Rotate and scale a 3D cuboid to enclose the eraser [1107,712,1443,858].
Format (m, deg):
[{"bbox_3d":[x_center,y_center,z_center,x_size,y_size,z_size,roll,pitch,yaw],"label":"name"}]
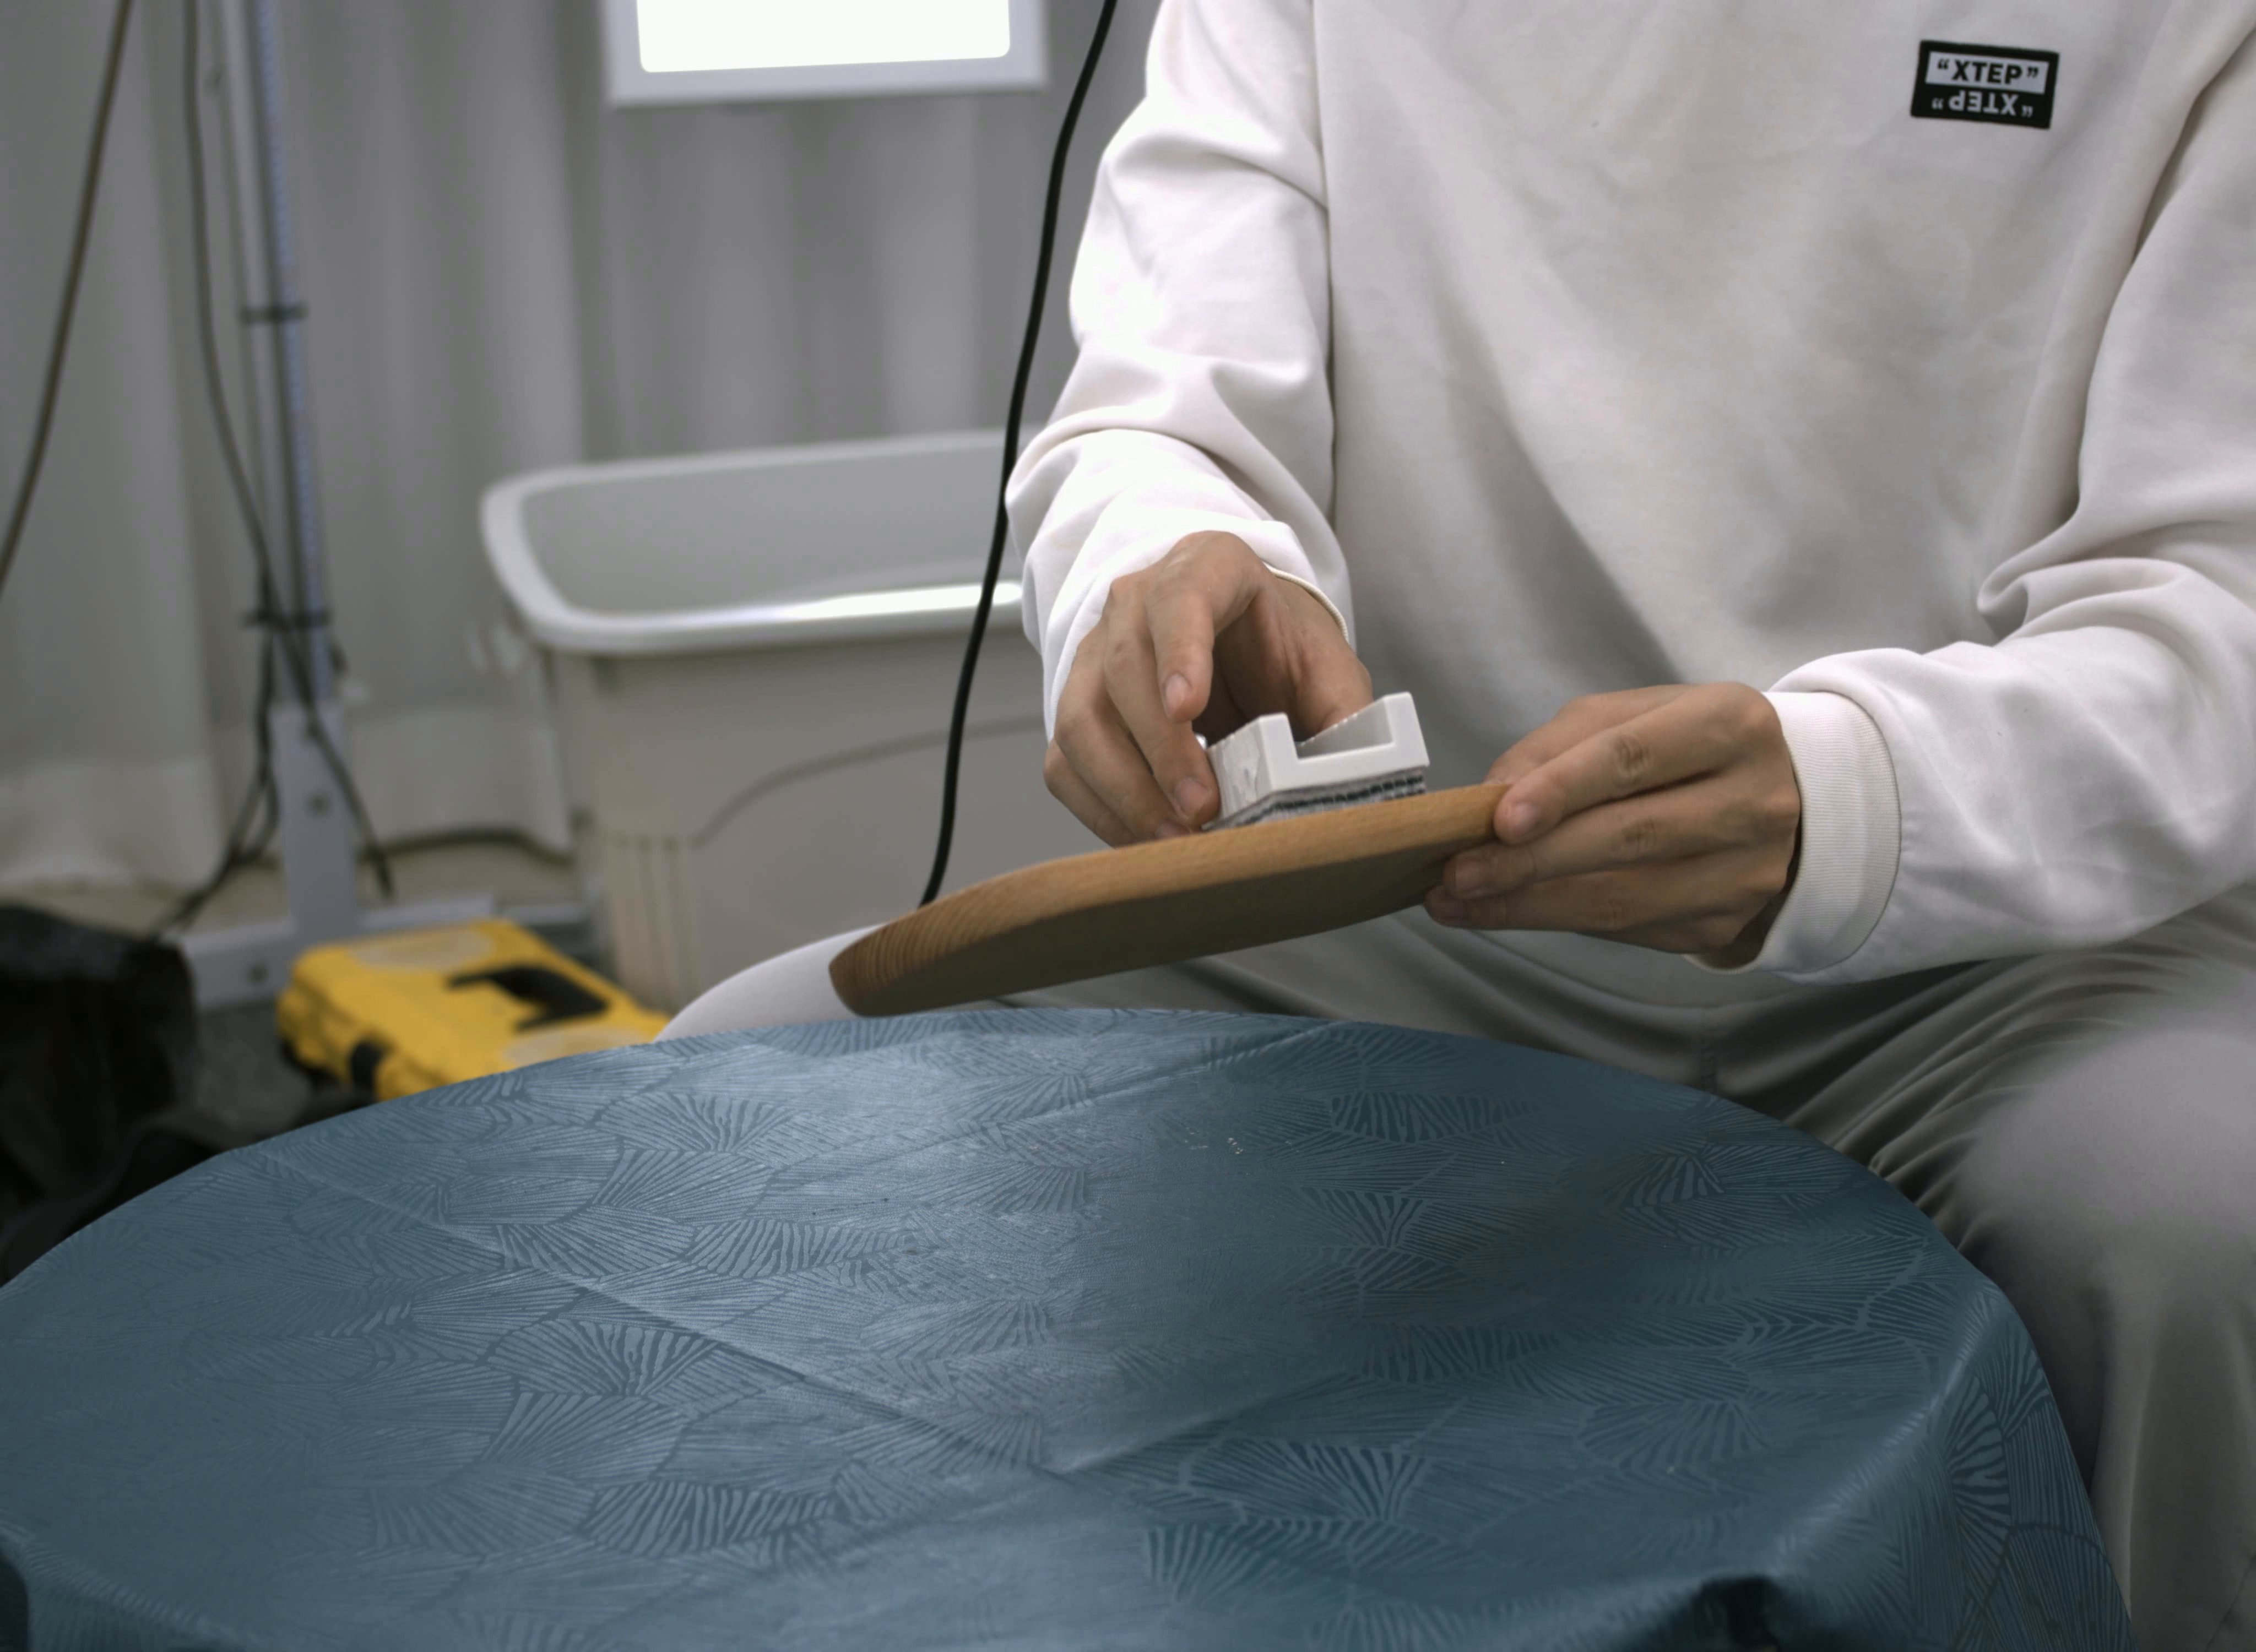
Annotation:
[{"bbox_3d":[0.043,-0.002,1.628,0.049,0.047,0.134,-5,-6,-23],"label":"eraser"}]

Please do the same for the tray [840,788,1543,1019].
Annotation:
[{"bbox_3d":[0.022,0.022,1.560,0.230,0.020,0.101,-8,-13,-36],"label":"tray"}]
